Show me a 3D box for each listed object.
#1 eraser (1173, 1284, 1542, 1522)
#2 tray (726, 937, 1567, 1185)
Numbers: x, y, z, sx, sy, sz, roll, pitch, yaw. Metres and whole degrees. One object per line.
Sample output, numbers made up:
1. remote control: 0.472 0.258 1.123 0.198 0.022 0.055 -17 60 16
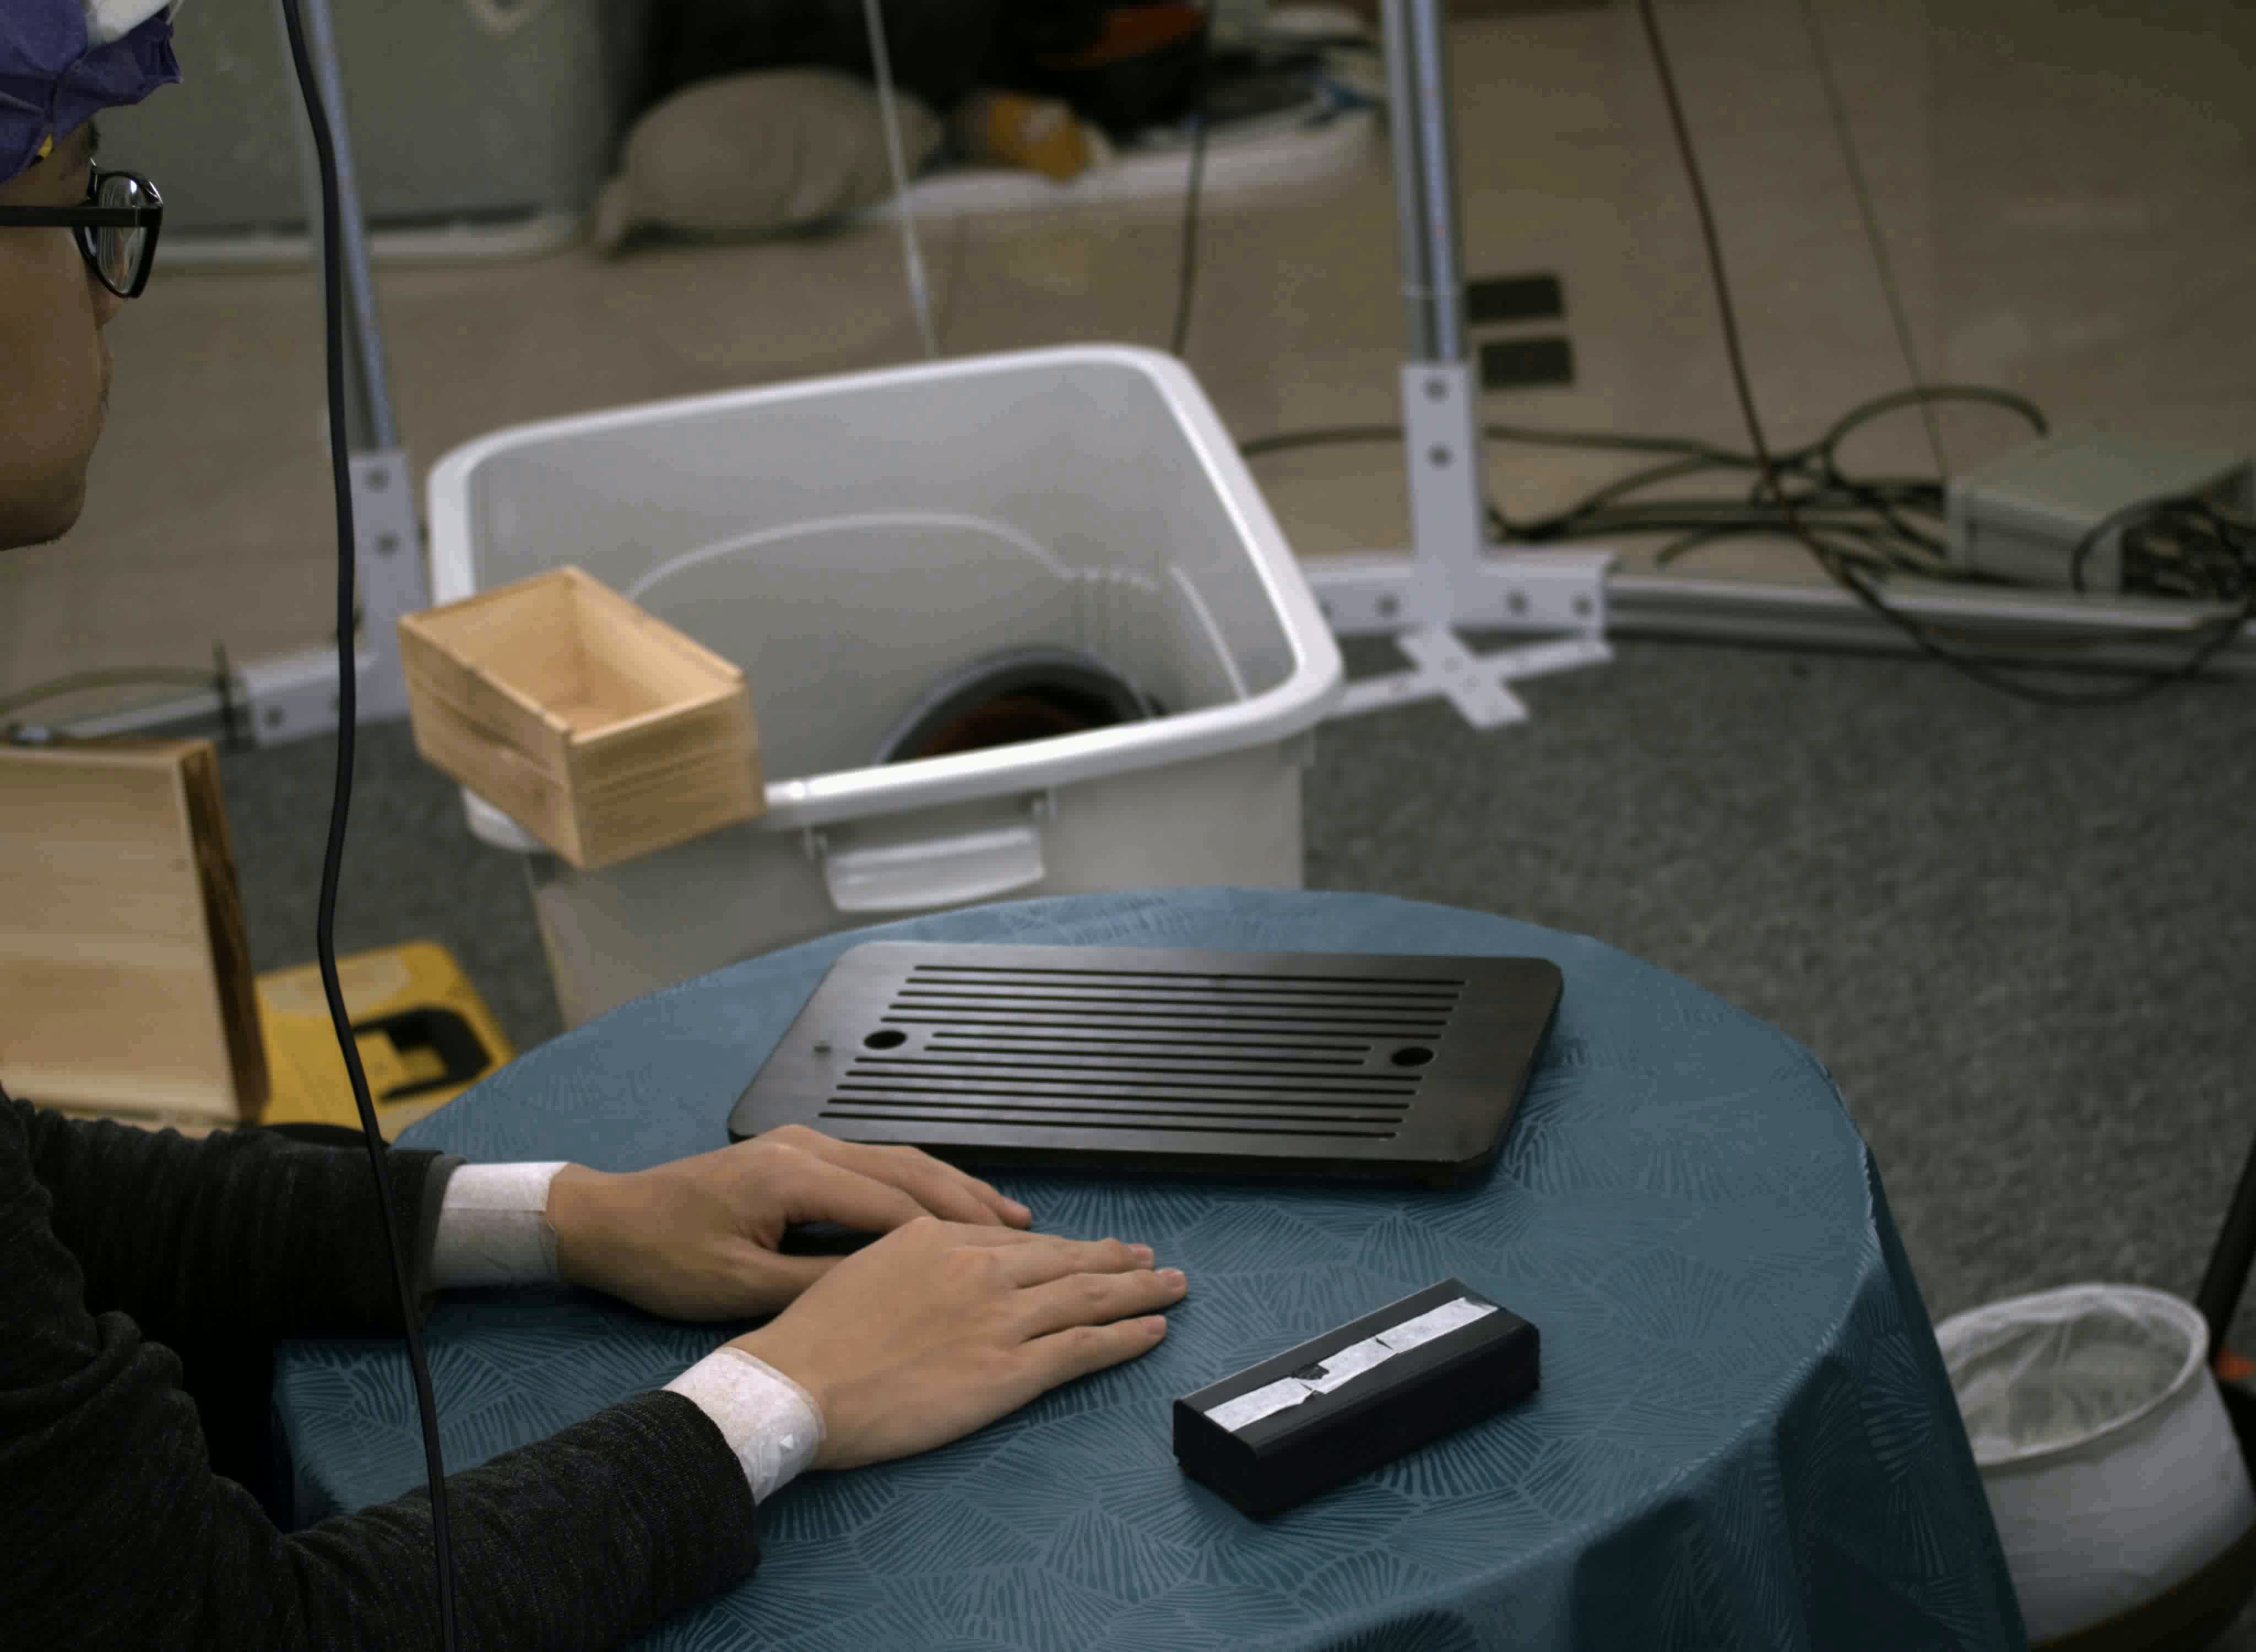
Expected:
1. eraser: 0.081 0.198 1.968 0.125 0.031 0.053 -23 27 -29
2. tray: 0.009 0.092 2.226 0.305 0.019 0.168 1 26 16
